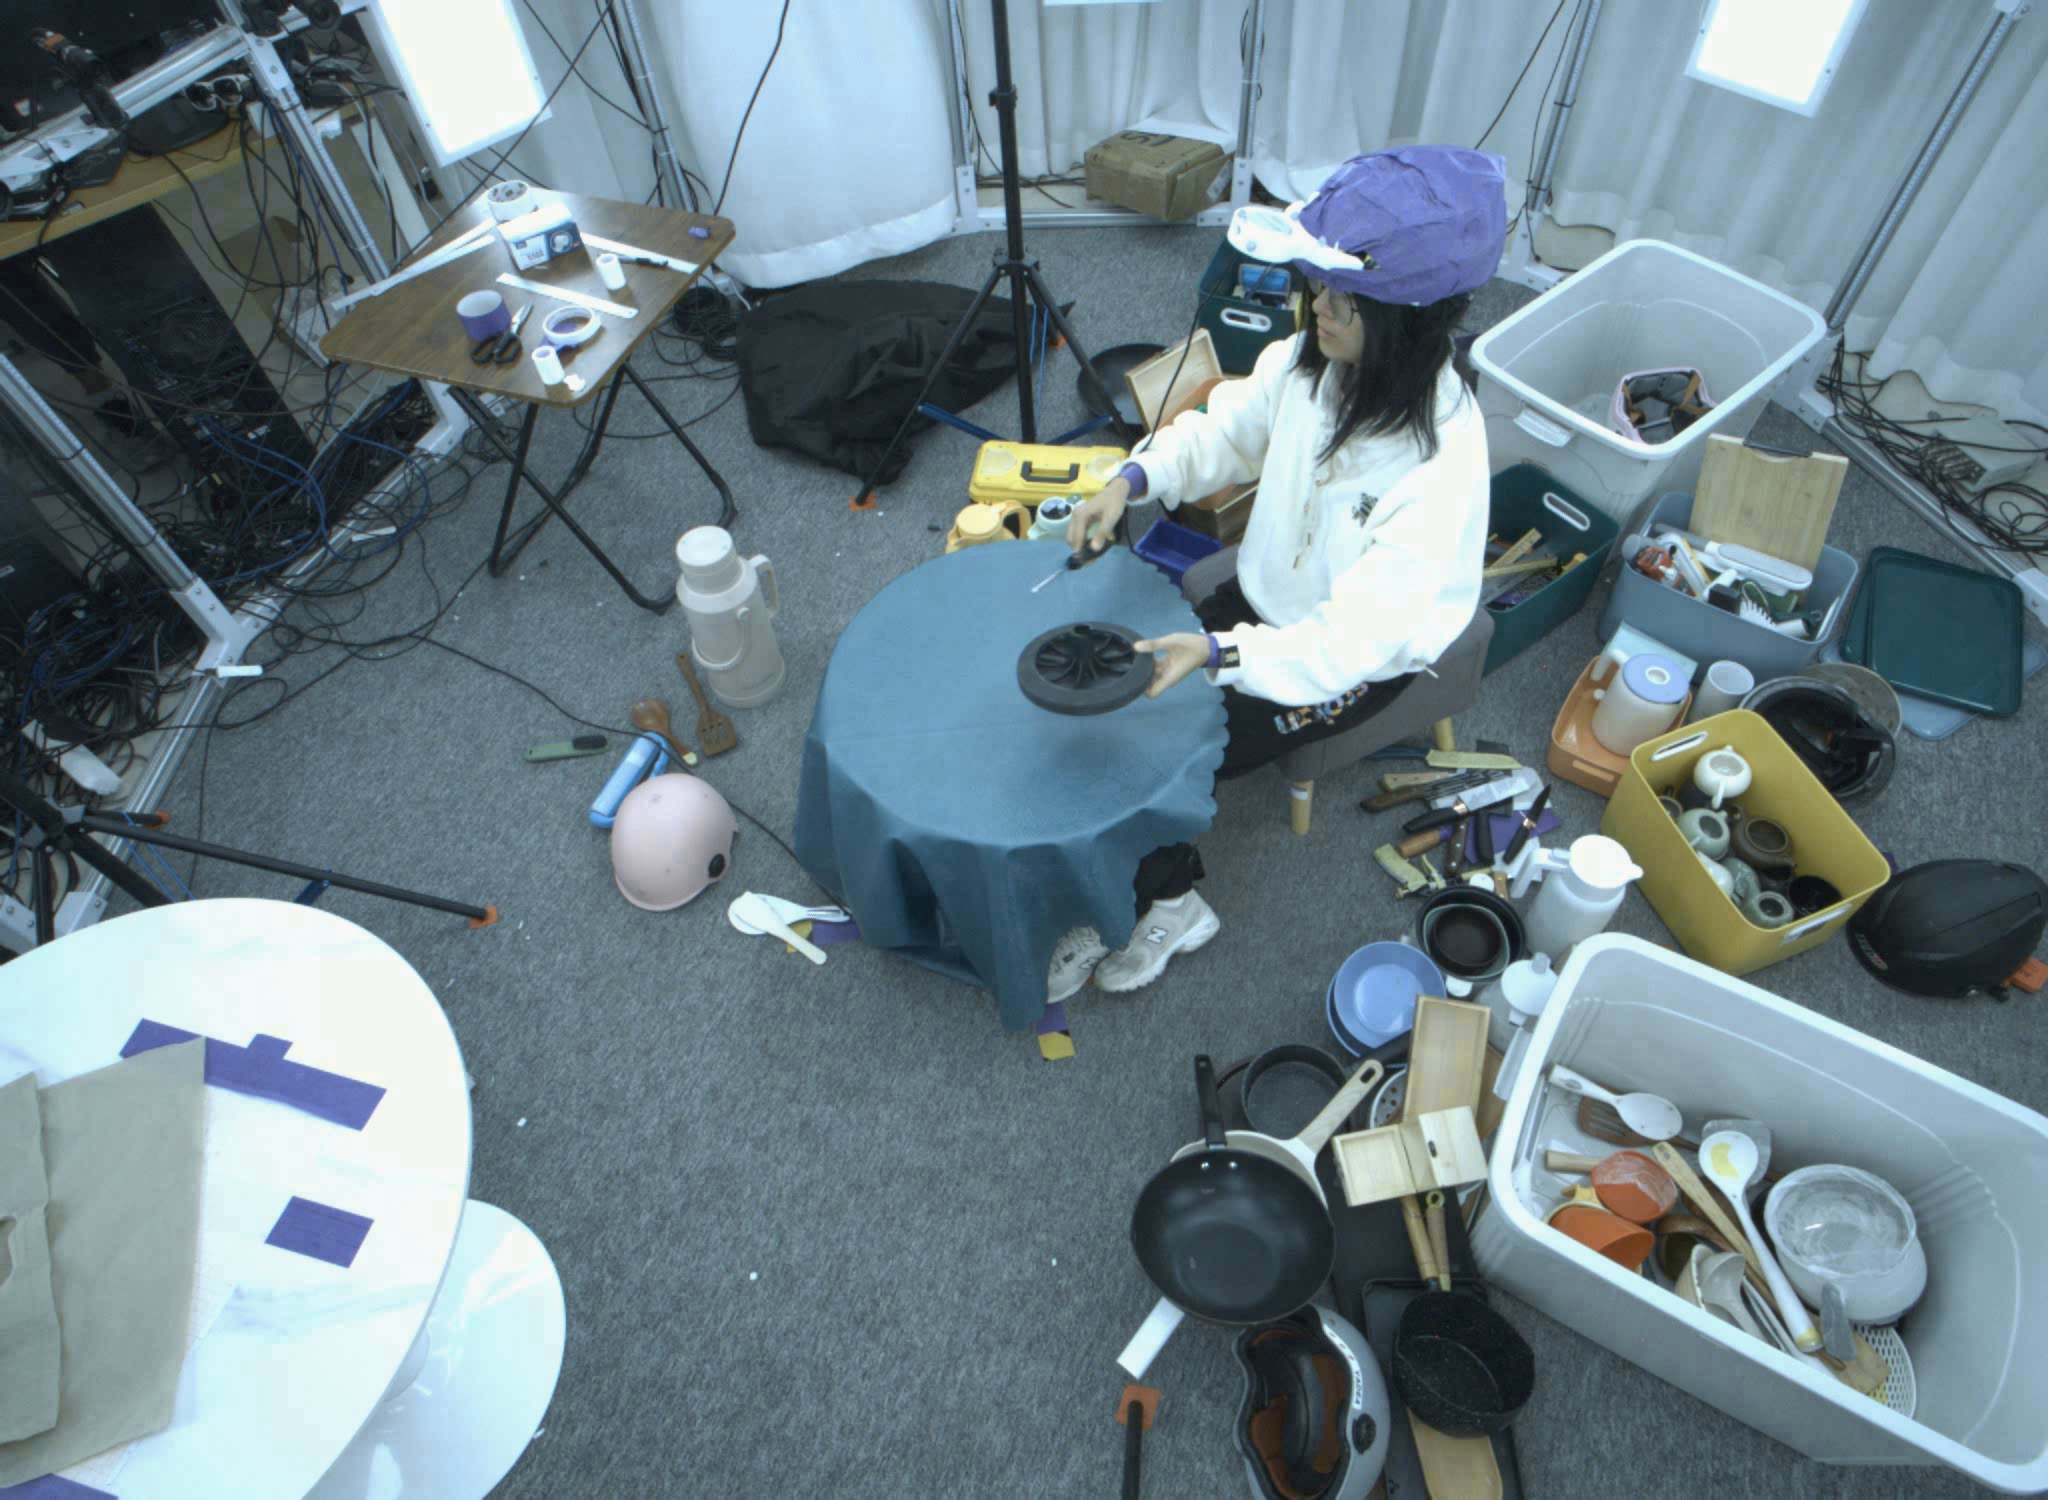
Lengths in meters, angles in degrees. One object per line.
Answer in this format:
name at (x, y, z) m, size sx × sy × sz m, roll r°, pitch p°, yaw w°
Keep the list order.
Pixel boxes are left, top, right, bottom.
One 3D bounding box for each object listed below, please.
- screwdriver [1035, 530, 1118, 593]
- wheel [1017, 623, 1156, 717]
screwdriver at (0.074, -0.274, 1.774) m, size 0.031 × 0.031 × 0.198 m, roll 31°, pitch 45°, yaw 22°
wheel at (0.081, -0.127, 1.658) m, size 0.189 × 0.080 × 0.185 m, roll -4°, pitch 42°, yaw 6°
